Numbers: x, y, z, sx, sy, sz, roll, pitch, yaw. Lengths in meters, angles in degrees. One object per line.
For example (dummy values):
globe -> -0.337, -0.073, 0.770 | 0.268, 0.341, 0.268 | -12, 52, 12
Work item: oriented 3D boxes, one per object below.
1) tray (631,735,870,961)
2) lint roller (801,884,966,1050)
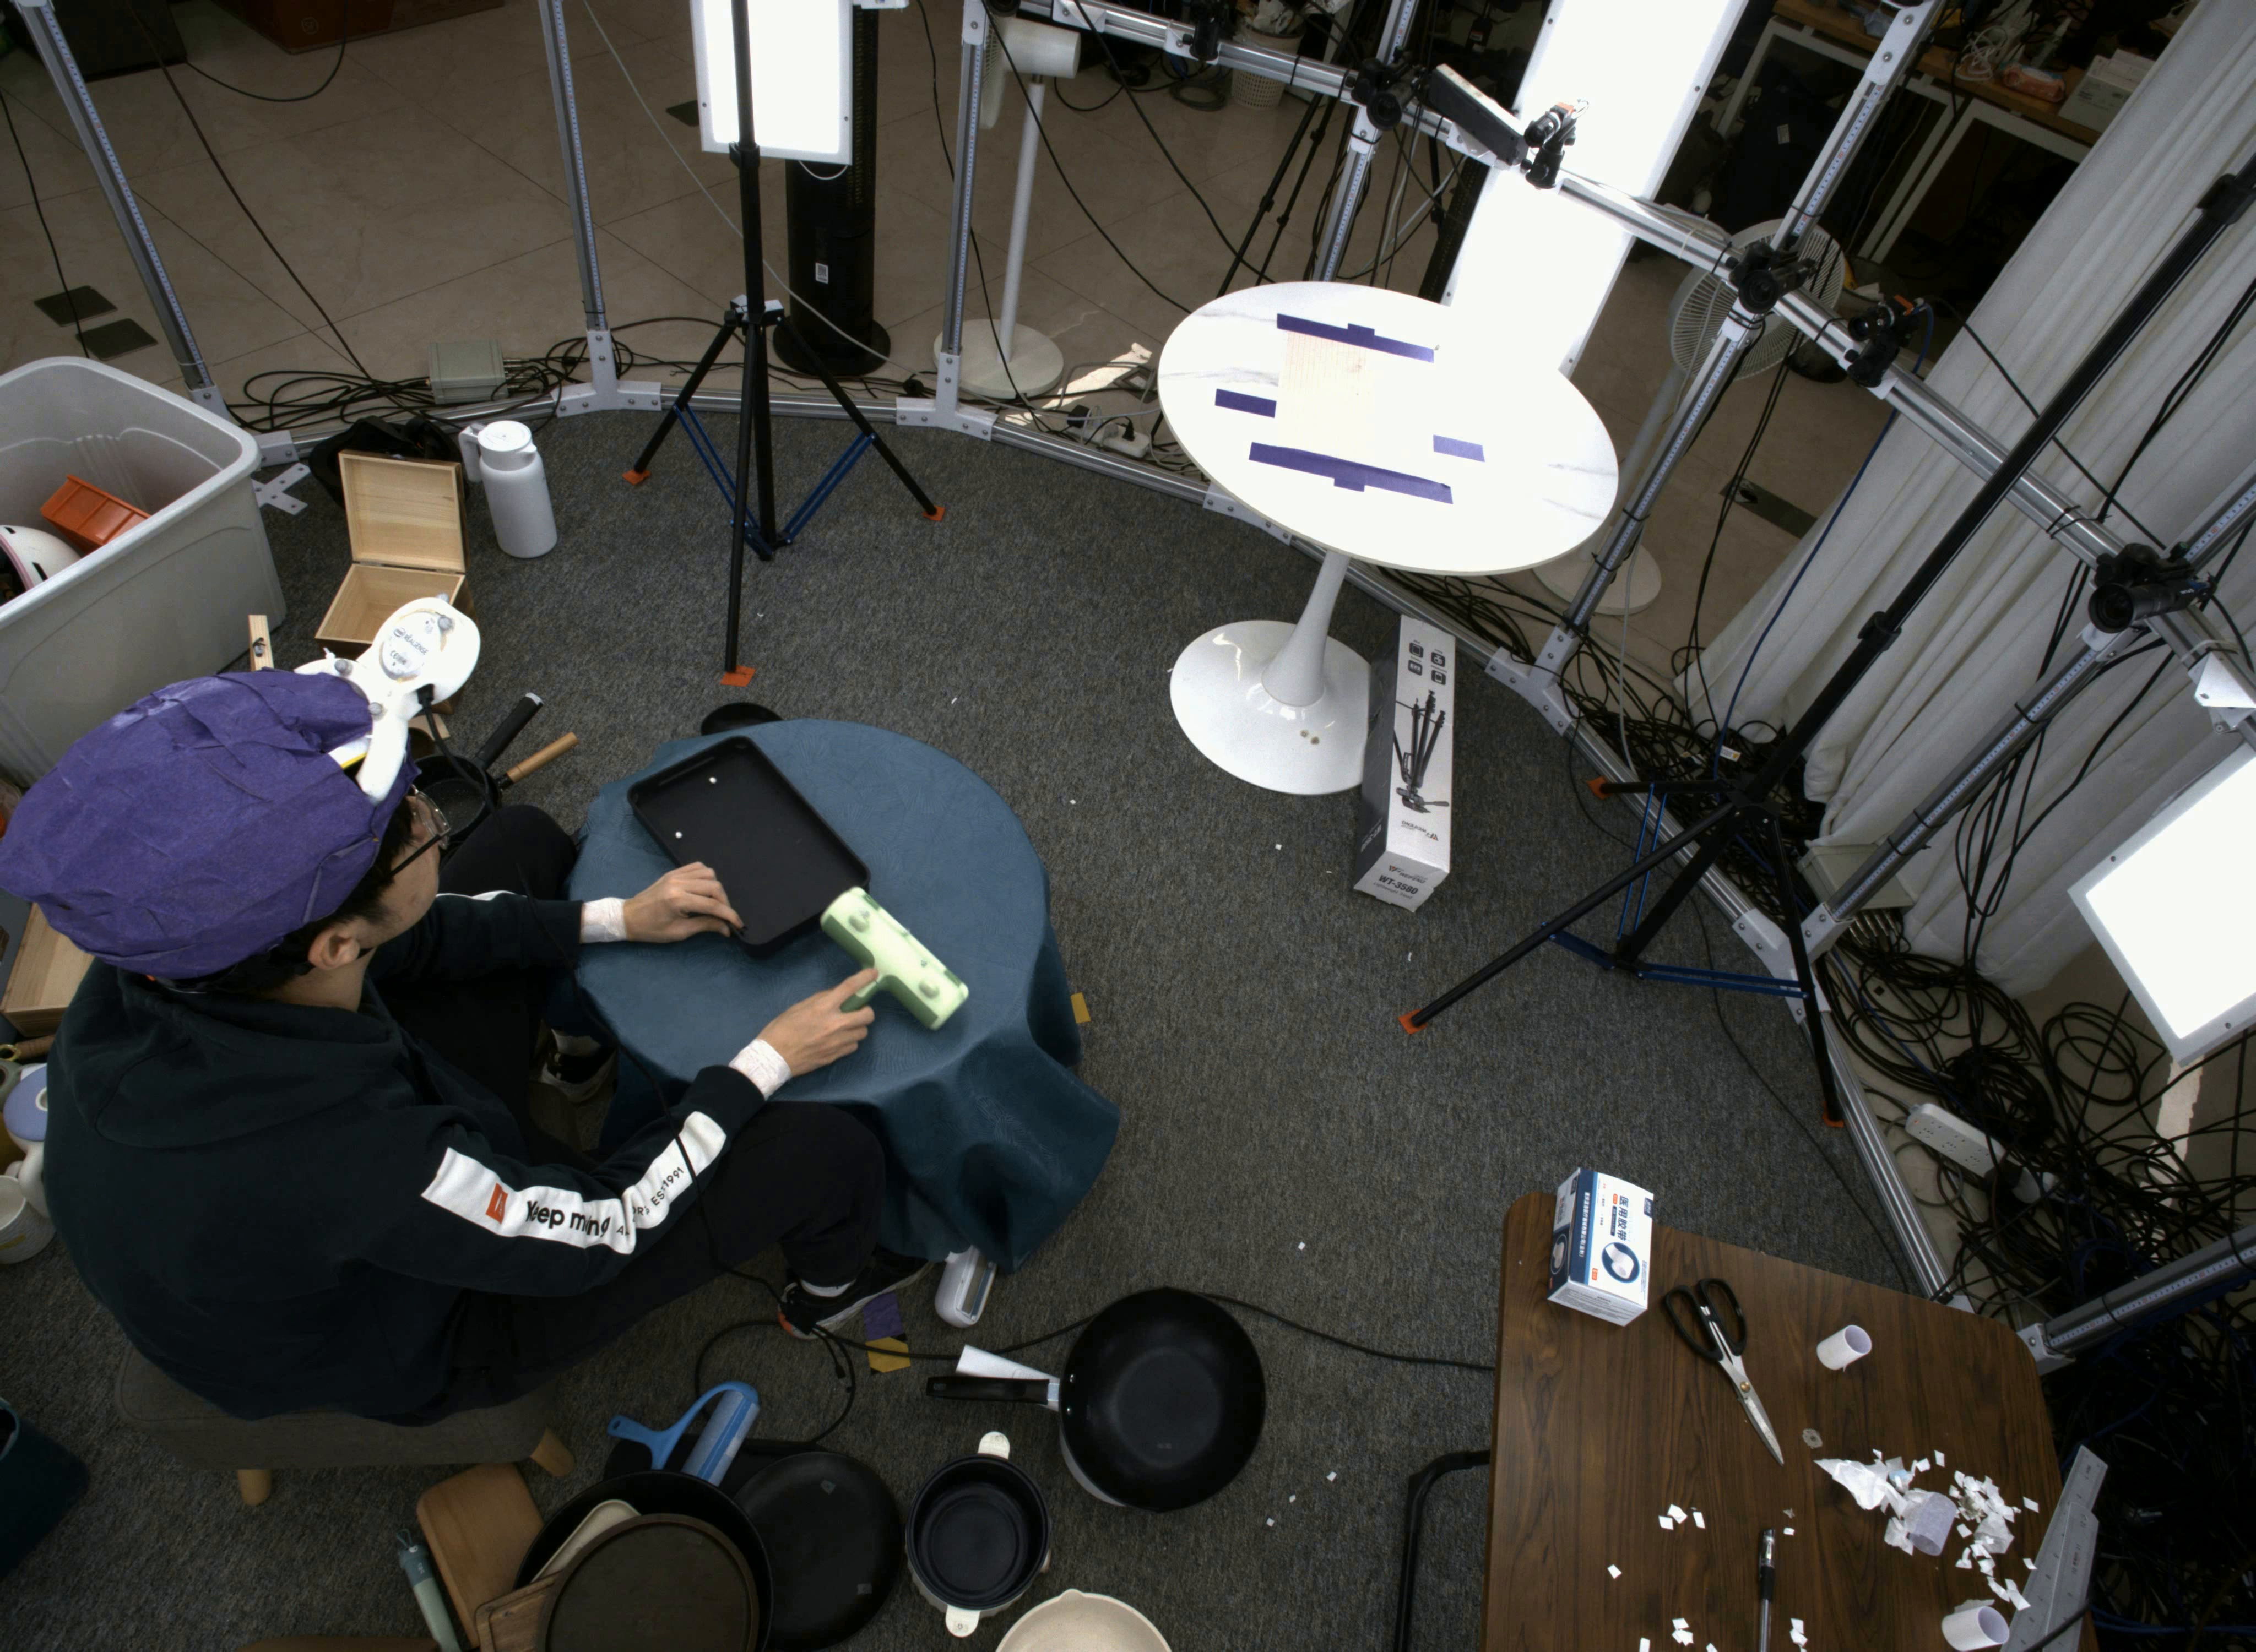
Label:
tray -> -0.486, 0.020, 1.657 | 0.185, 0.038, 0.309 | -32, 63, -29
lint roller -> -0.316, 0.187, 1.541 | 0.199, 0.082, 0.183 | 44, 54, -2
